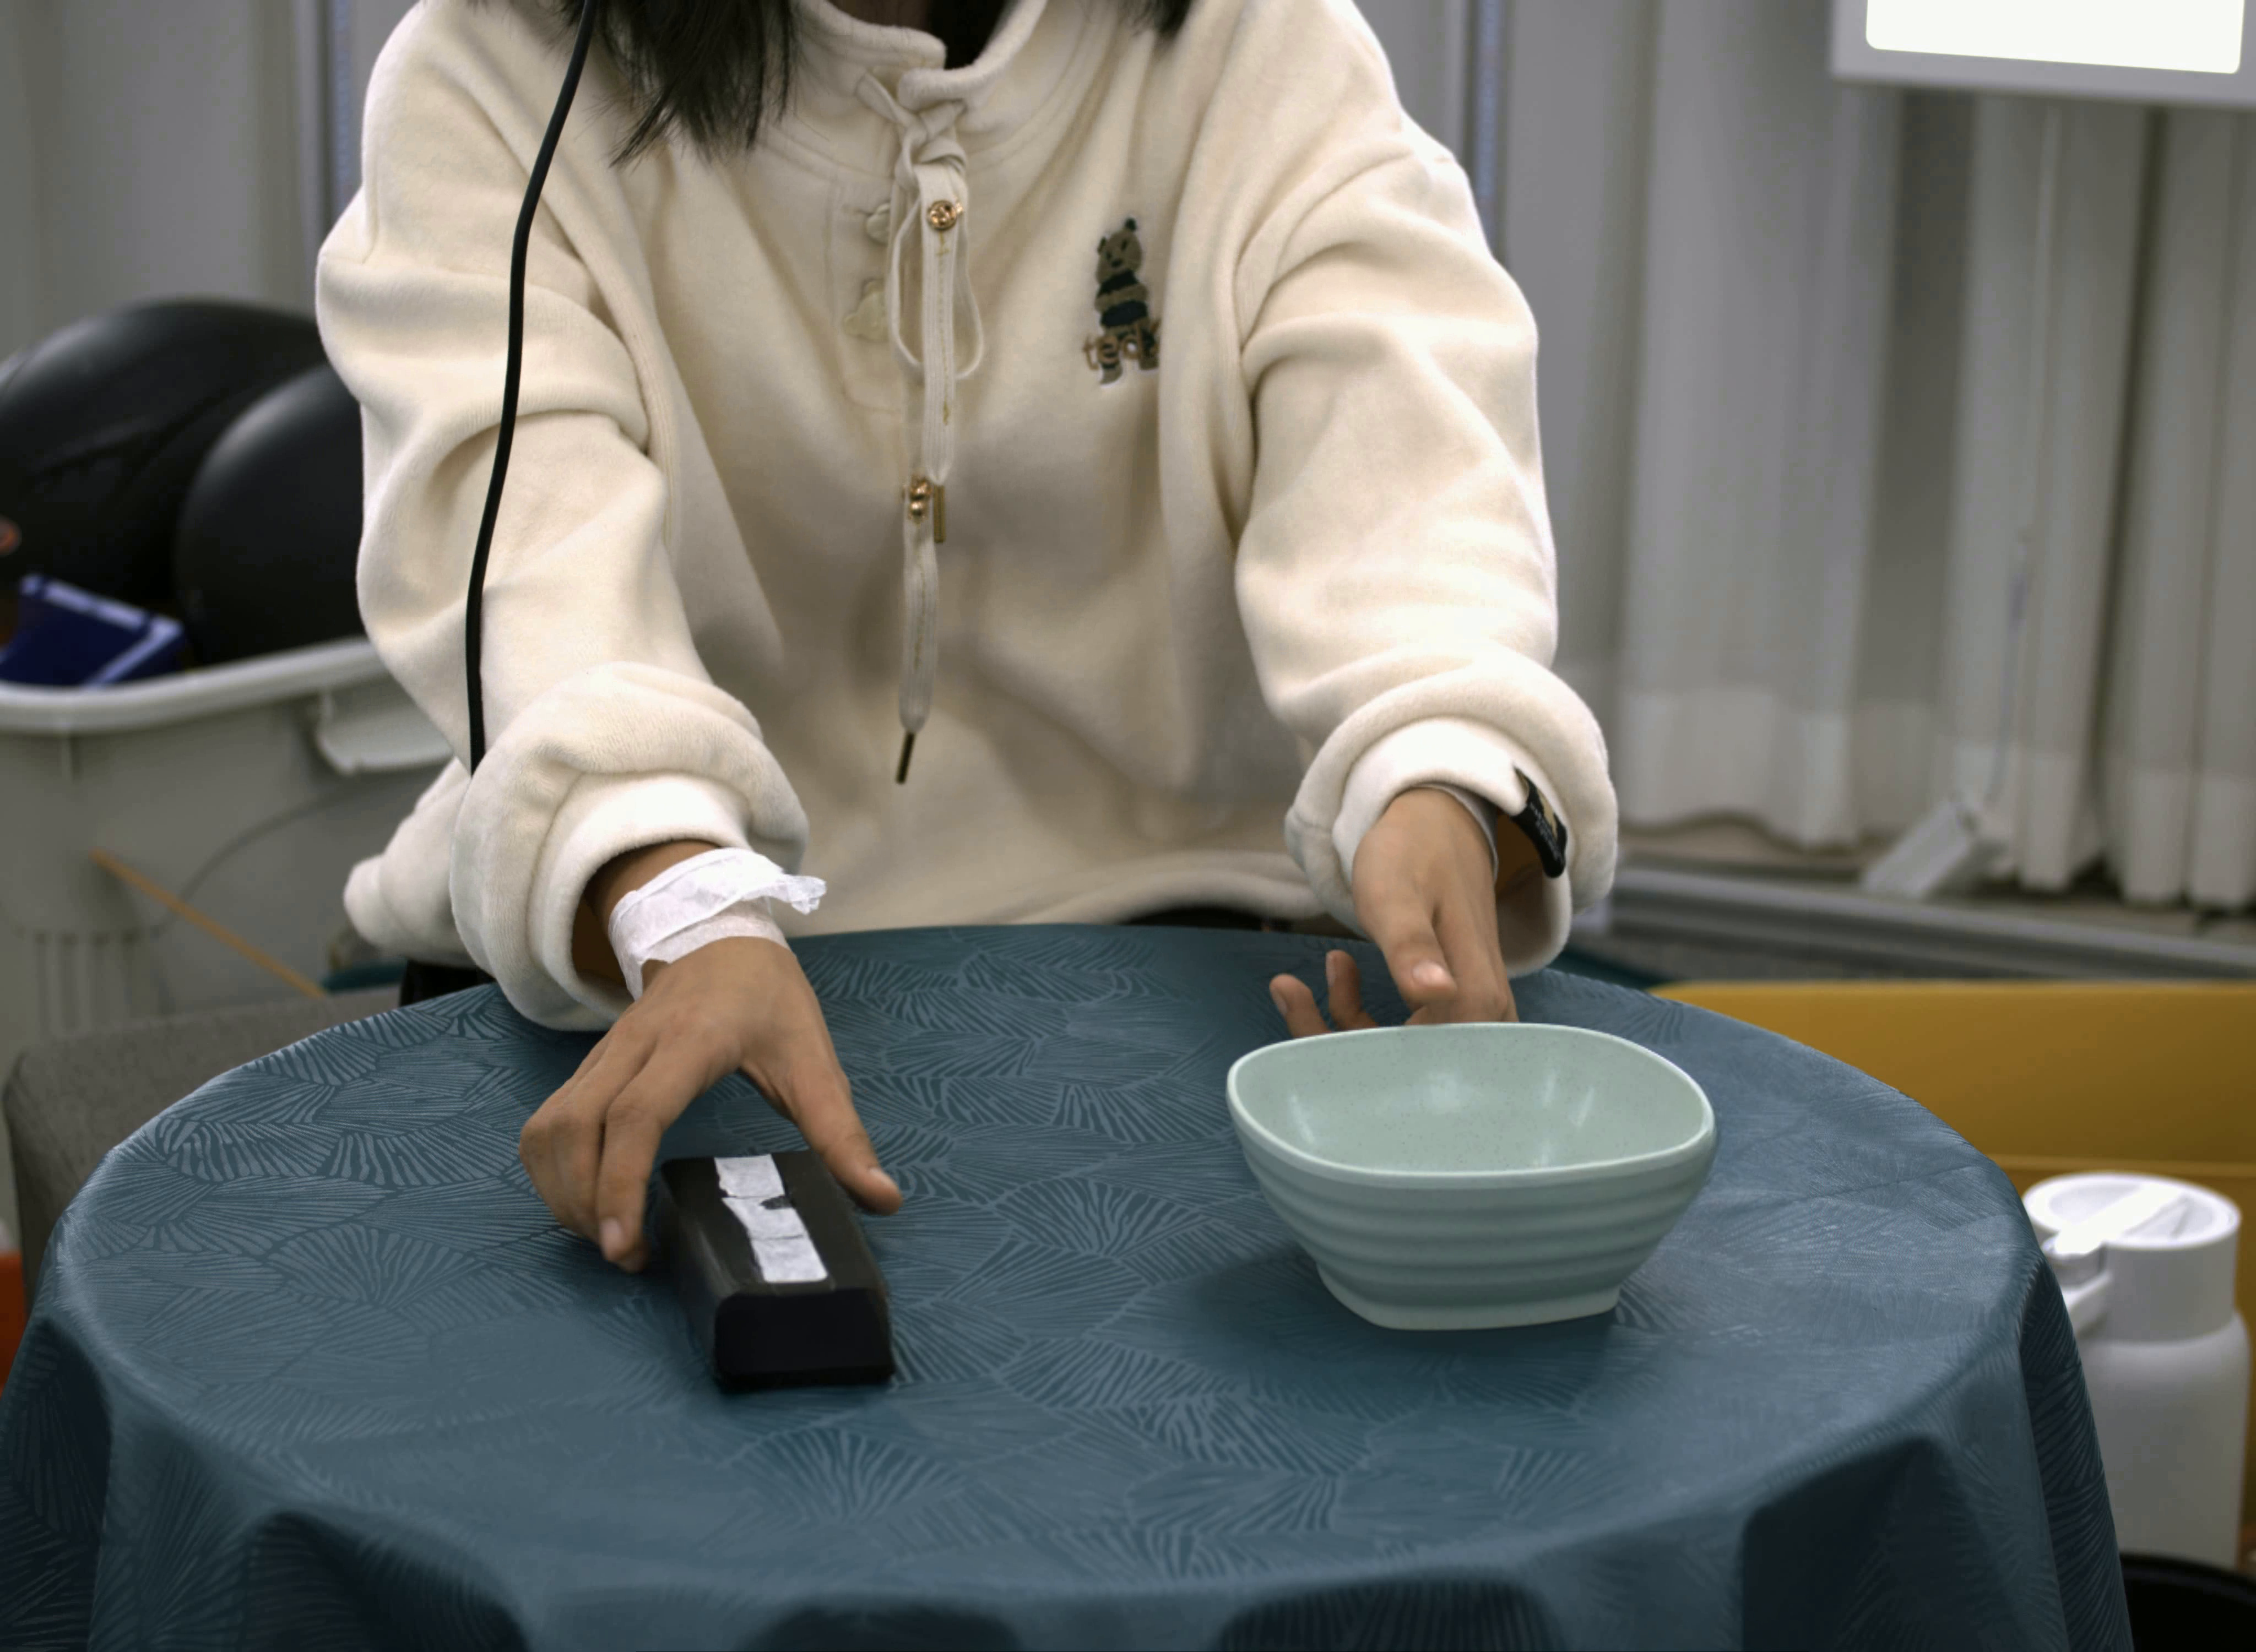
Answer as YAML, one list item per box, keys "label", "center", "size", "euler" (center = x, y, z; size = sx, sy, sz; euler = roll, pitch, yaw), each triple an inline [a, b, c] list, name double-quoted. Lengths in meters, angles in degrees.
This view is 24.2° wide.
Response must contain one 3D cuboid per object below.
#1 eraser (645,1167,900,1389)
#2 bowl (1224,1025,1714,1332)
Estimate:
- label: "eraser"
  center: [-0.103, 0.128, 1.510]
  size: [0.053, 0.030, 0.124]
  euler: [-2, 13, -14]
- label: "bowl"
  center: [0.097, 0.106, 1.541]
  size: [0.151, 0.059, 0.150]
  euler: [3, 15, 0]
